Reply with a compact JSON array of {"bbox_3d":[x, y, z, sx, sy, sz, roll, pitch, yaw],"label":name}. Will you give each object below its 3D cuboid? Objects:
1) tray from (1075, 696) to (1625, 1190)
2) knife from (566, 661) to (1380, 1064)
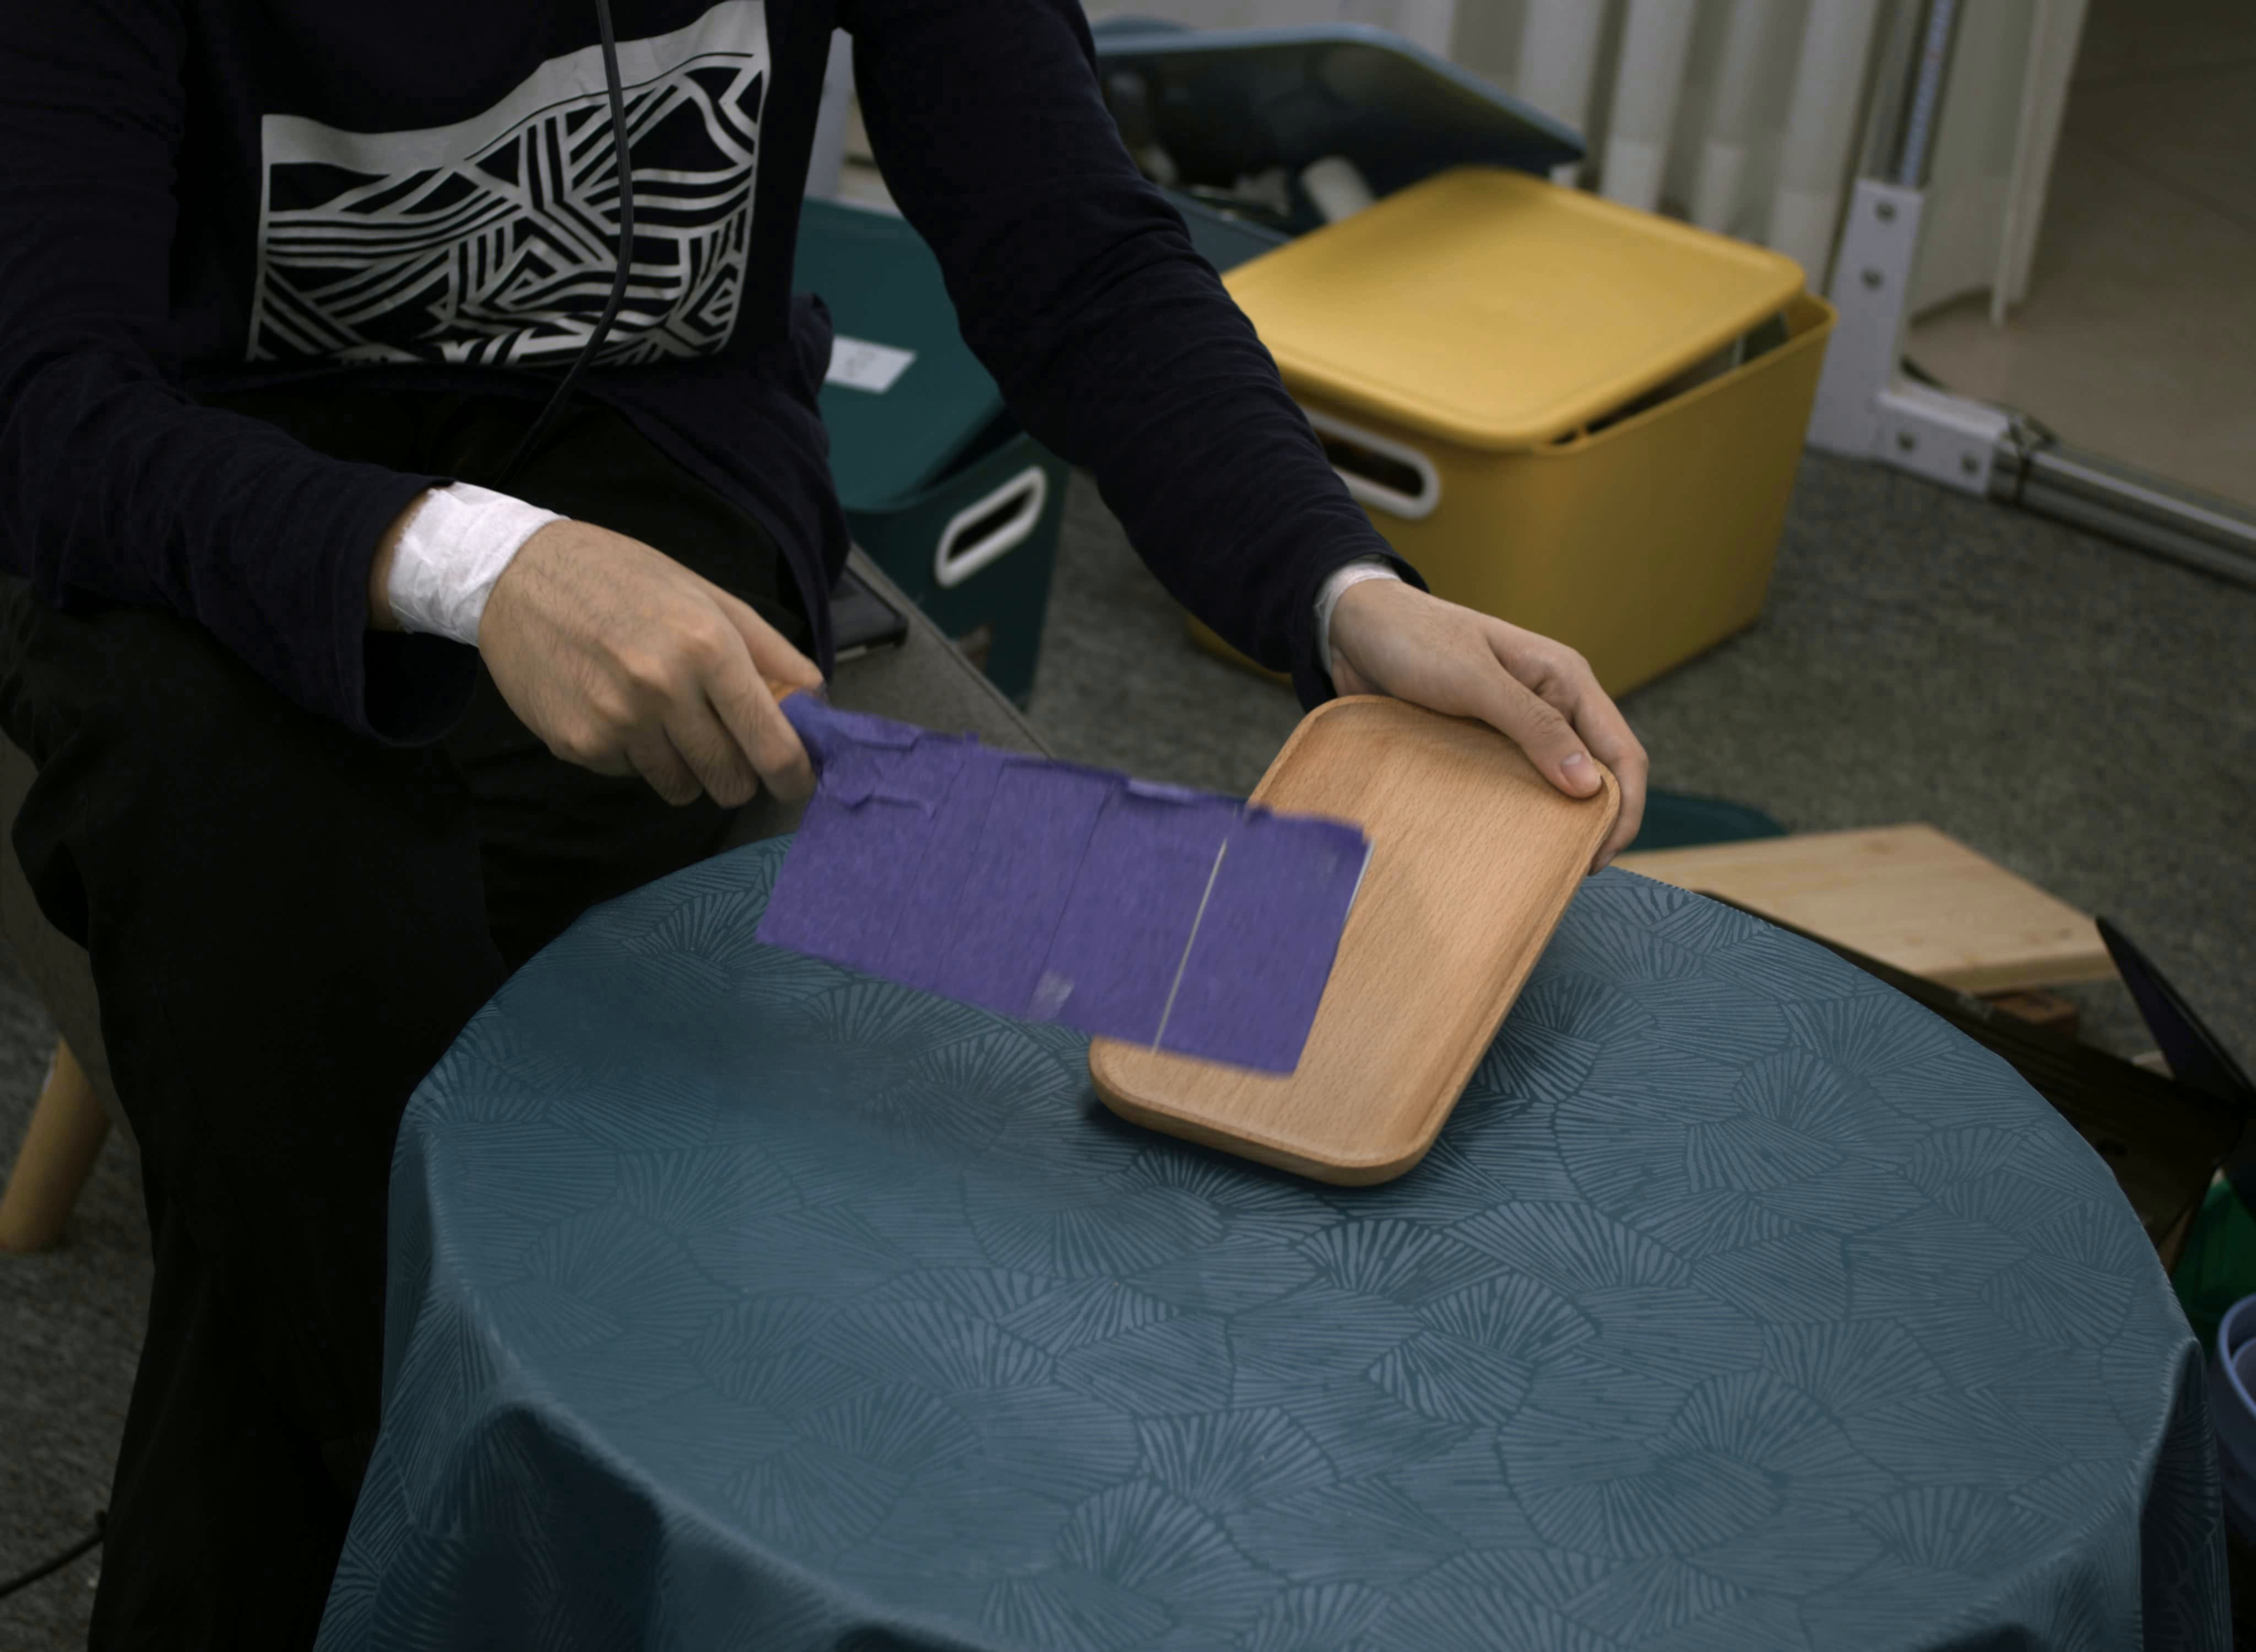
[{"bbox_3d":[0.083,0.039,1.915,0.131,0.023,0.251,16,42,21],"label":"tray"},{"bbox_3d":[-0.070,0.012,1.810,0.317,0.032,0.104,13,69,29],"label":"knife"}]
